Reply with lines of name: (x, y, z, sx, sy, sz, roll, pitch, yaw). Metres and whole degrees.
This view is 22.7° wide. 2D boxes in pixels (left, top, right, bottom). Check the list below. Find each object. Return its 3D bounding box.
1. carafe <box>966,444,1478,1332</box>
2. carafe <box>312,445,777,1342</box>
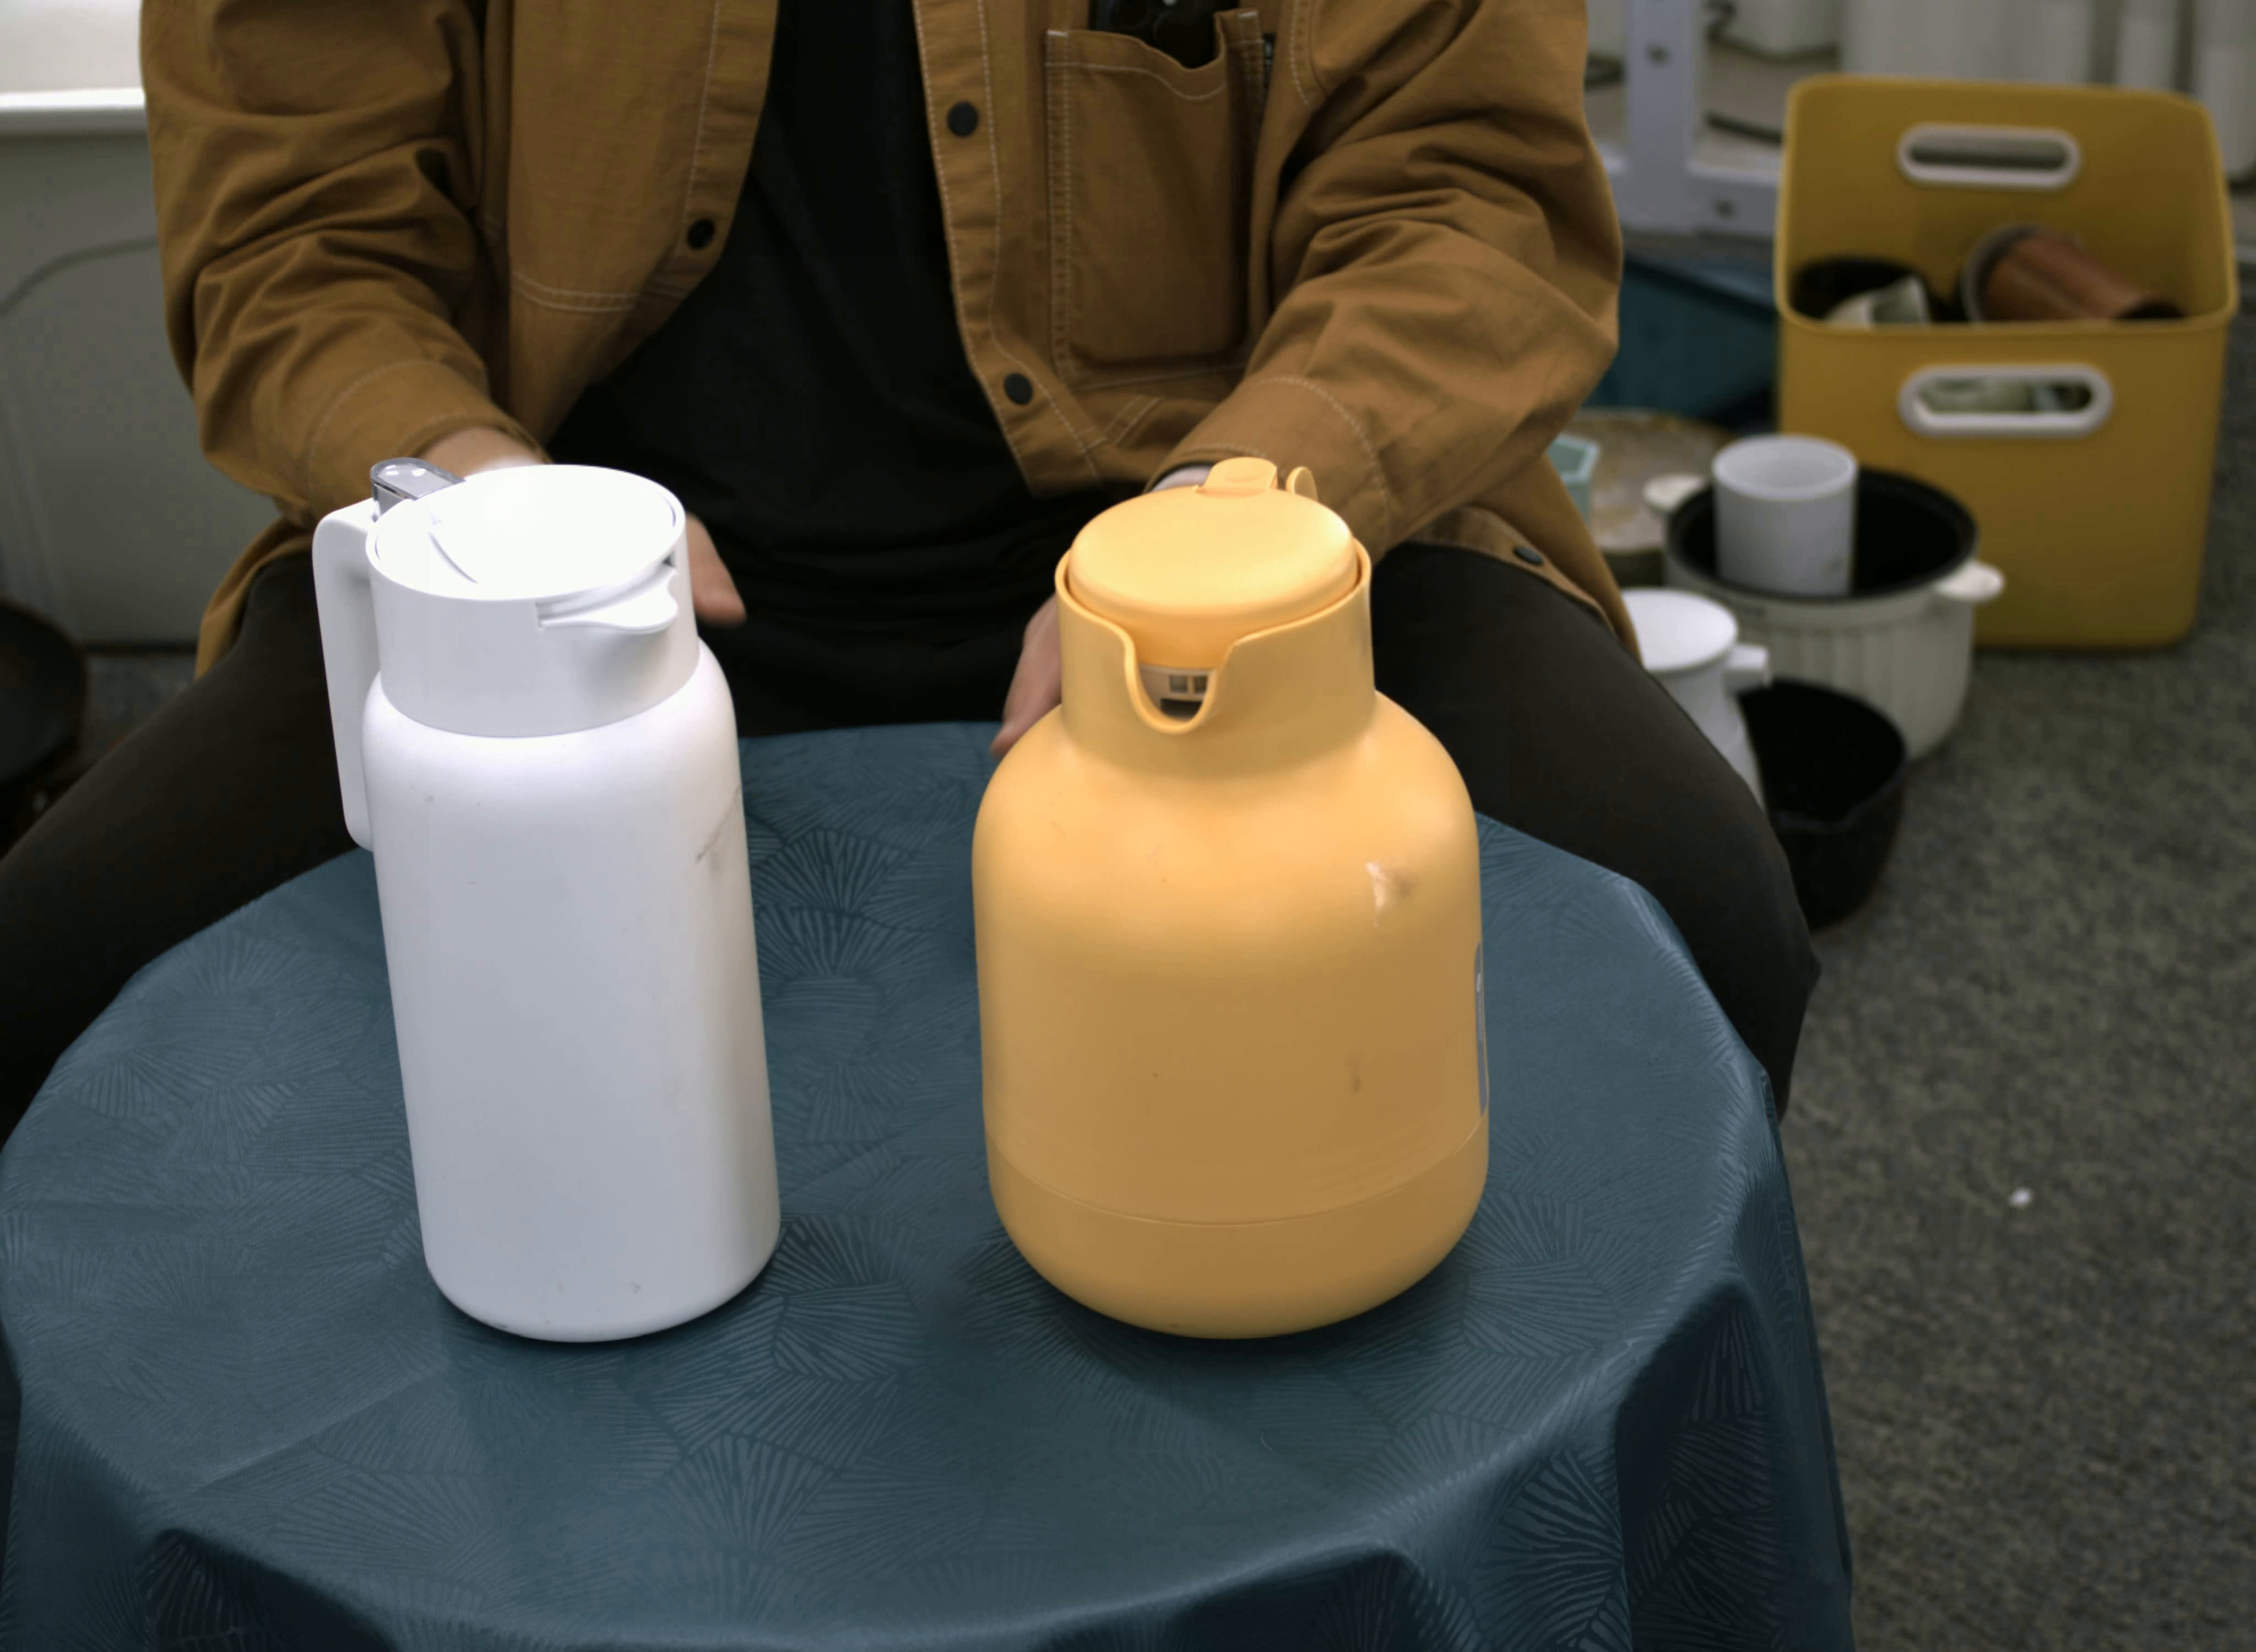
carafe: (0.035, 0.010, 1.788, 0.162, 0.257, 0.206, 6, 29, 12)
carafe: (-0.191, 0.019, 1.789, 0.125, 0.266, 0.172, -27, 34, -36)
